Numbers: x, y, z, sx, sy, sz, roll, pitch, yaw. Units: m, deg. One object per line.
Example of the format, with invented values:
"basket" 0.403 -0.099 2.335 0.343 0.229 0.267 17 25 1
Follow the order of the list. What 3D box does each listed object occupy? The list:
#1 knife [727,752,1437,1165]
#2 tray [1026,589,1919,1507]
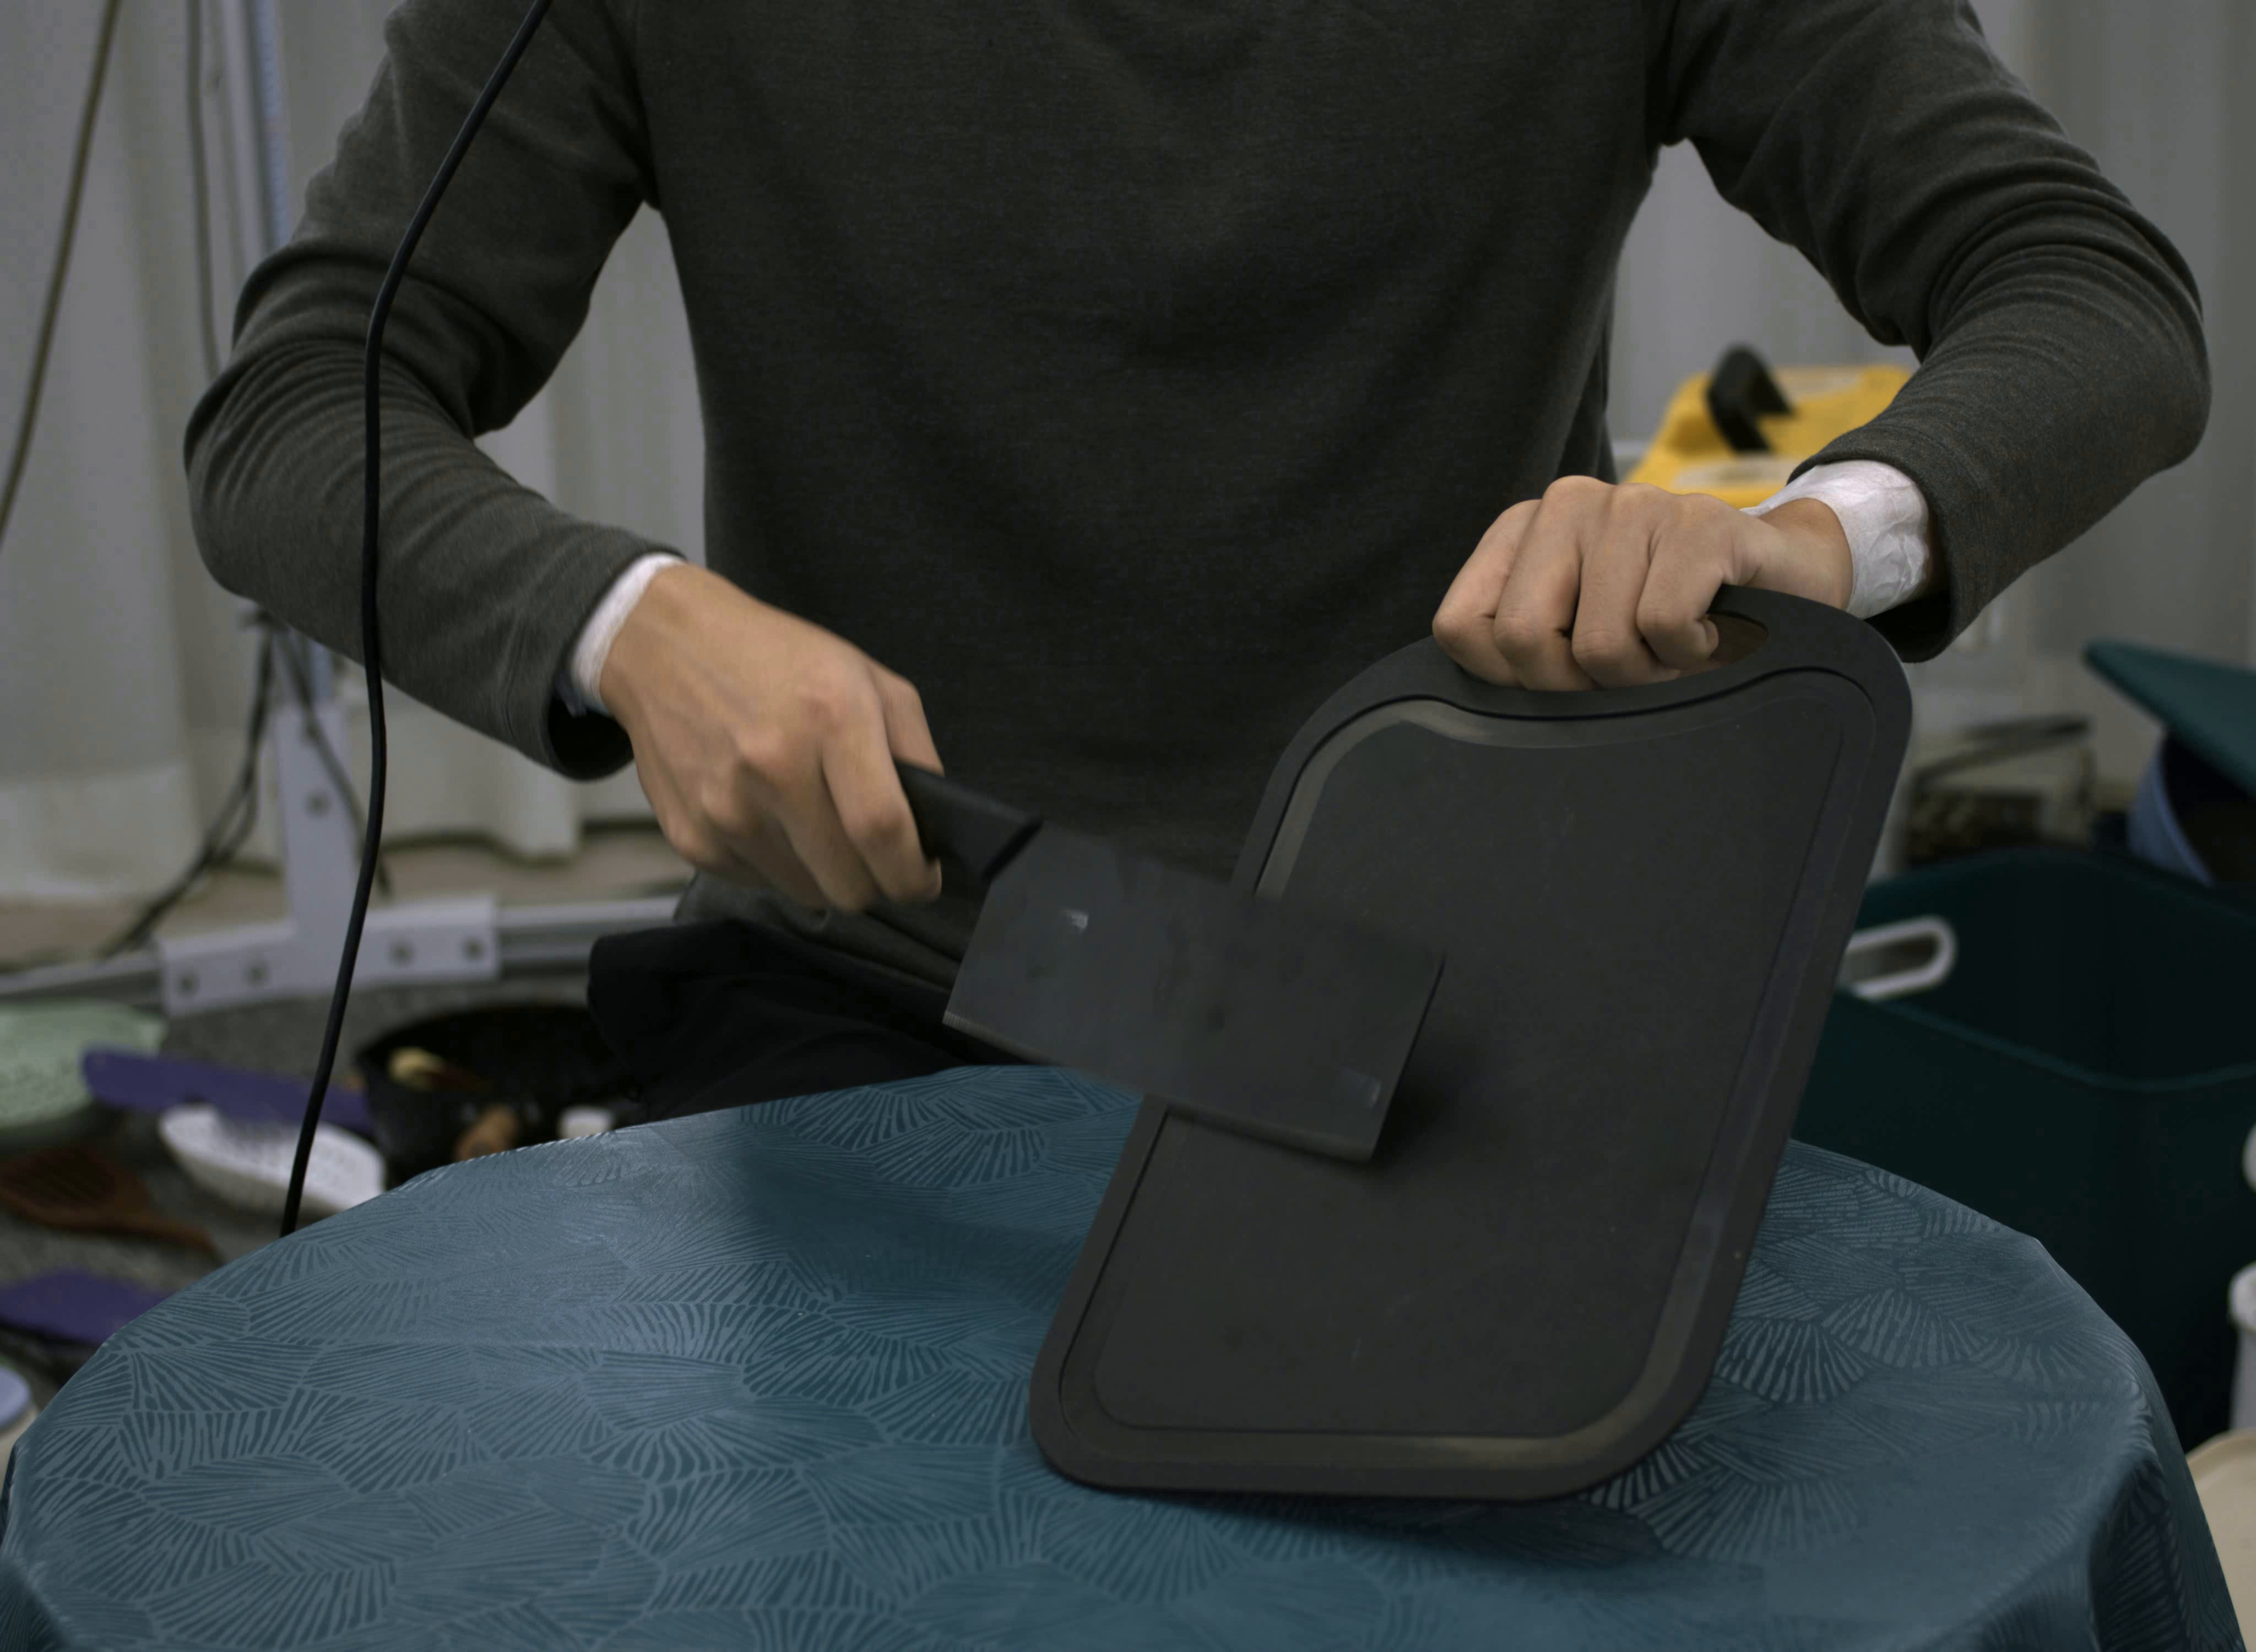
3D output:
"knife" -0.023 0.033 1.615 0.020 0.081 0.305 27 -2 -44
"tray" 0.099 0.053 1.531 0.211 0.009 0.329 -3 47 33
